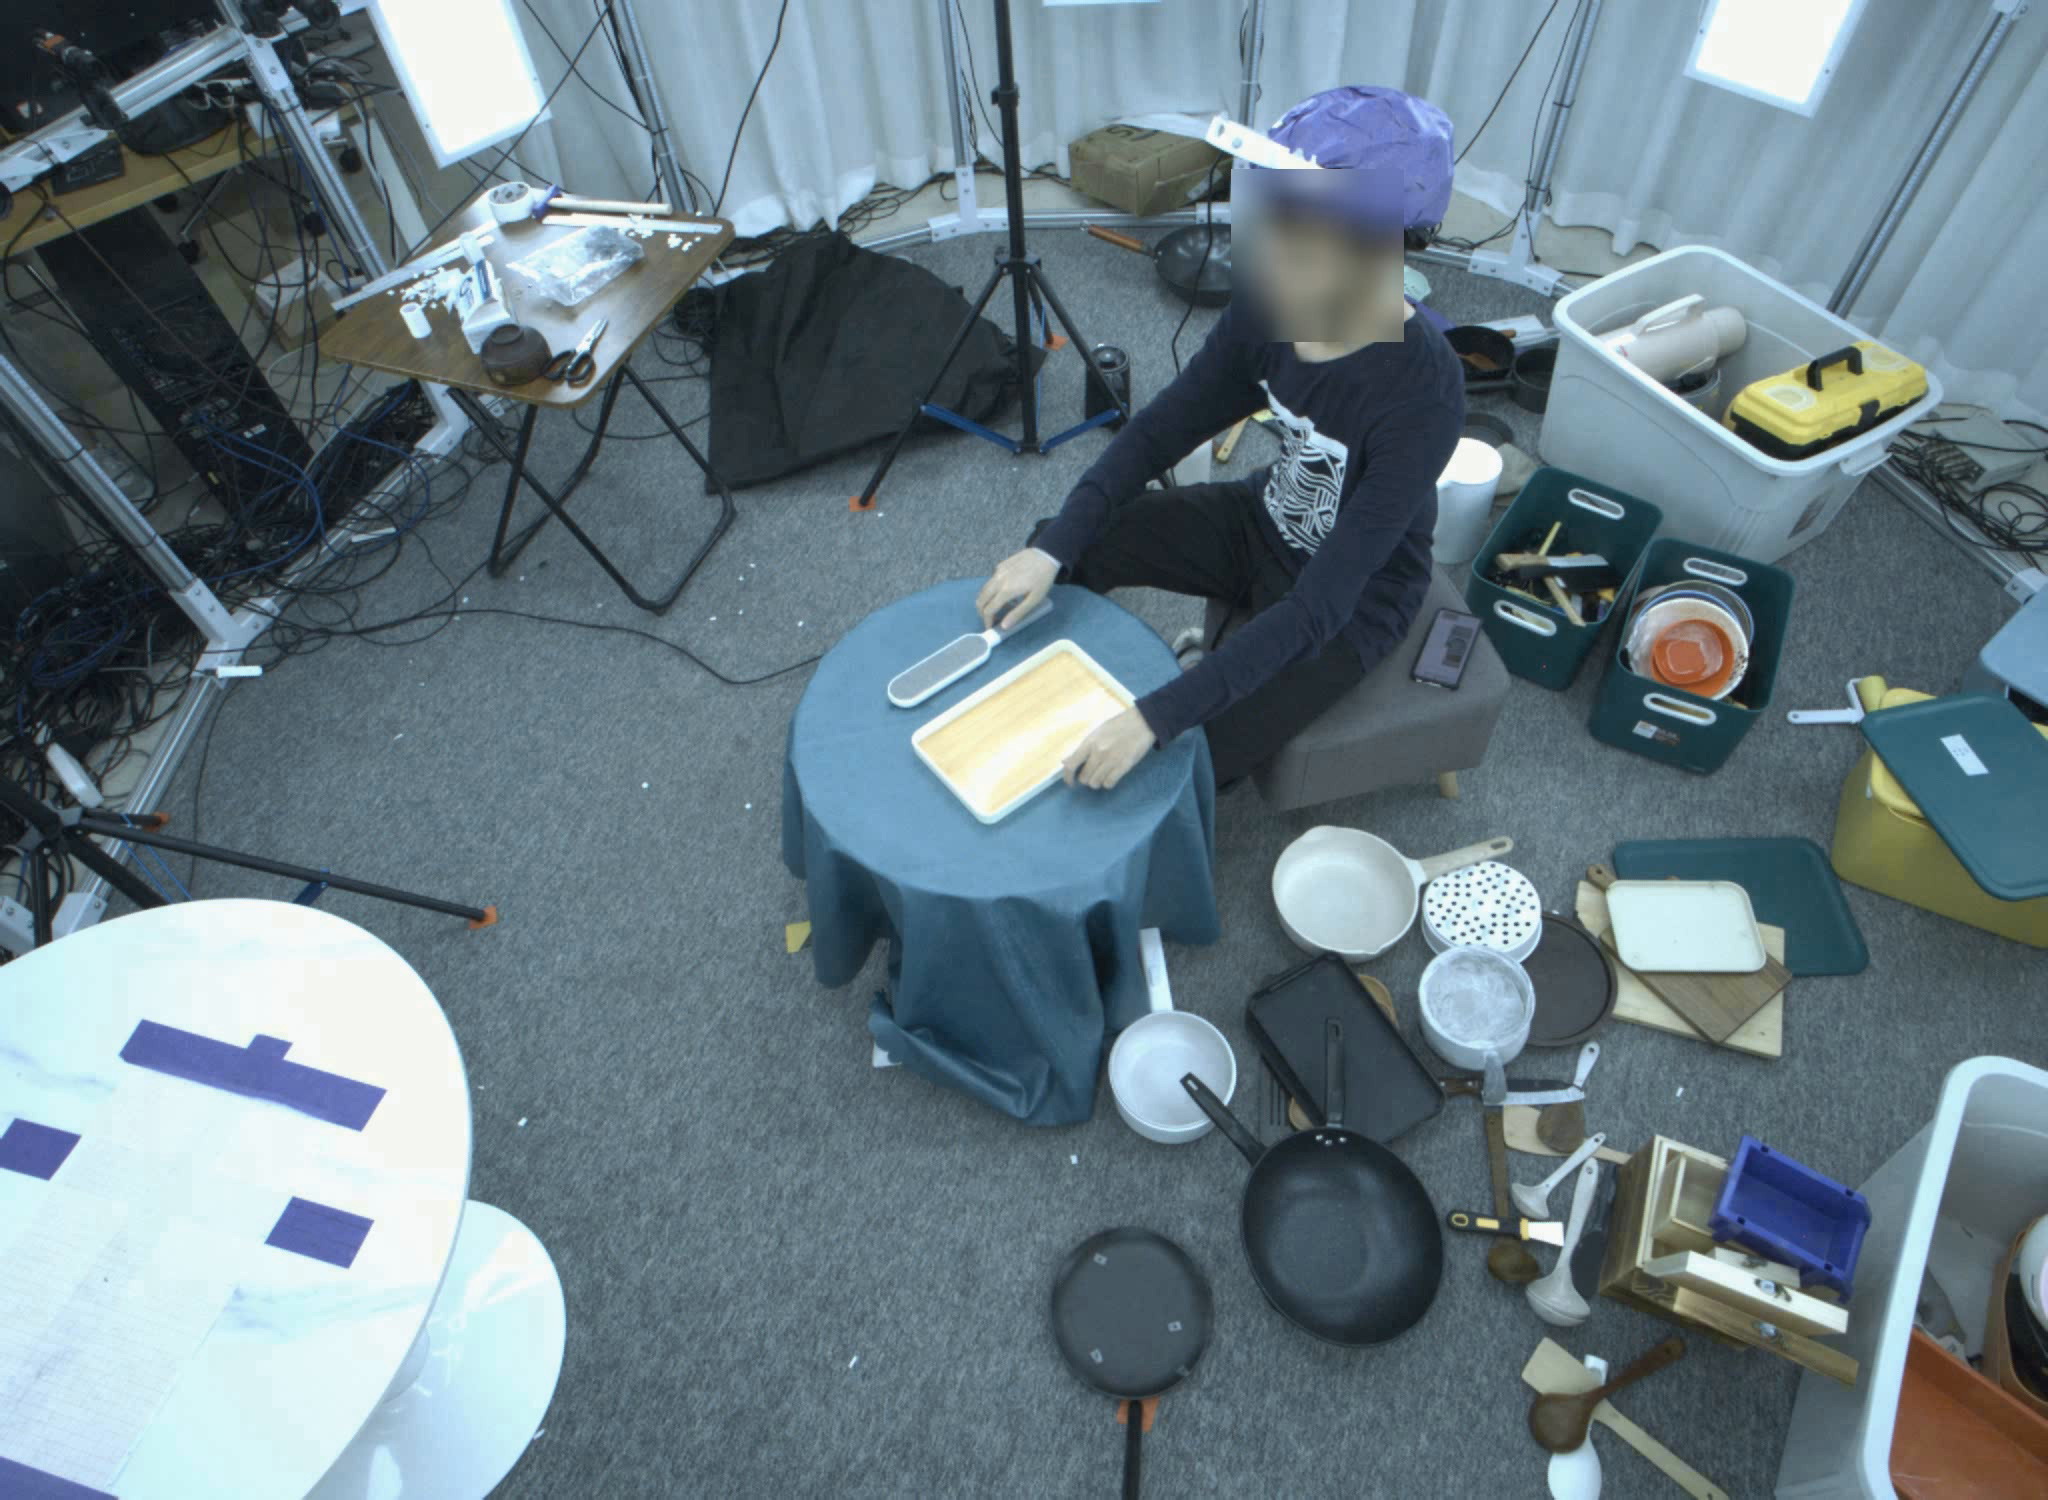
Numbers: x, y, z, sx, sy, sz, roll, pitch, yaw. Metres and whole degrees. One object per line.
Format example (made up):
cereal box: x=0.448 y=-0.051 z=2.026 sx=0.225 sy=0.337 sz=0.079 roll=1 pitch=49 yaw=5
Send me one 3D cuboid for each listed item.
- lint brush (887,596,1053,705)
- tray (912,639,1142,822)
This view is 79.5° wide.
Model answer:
lint brush: x=-0.079 y=-0.156 z=1.892 sx=0.311 sy=0.021 sz=0.059 roll=-34 pitch=54 yaw=-21
tray: x=0.005 y=-0.034 z=1.803 sx=0.303 sy=0.027 sz=0.188 roll=-33 pitch=61 yaw=-21
